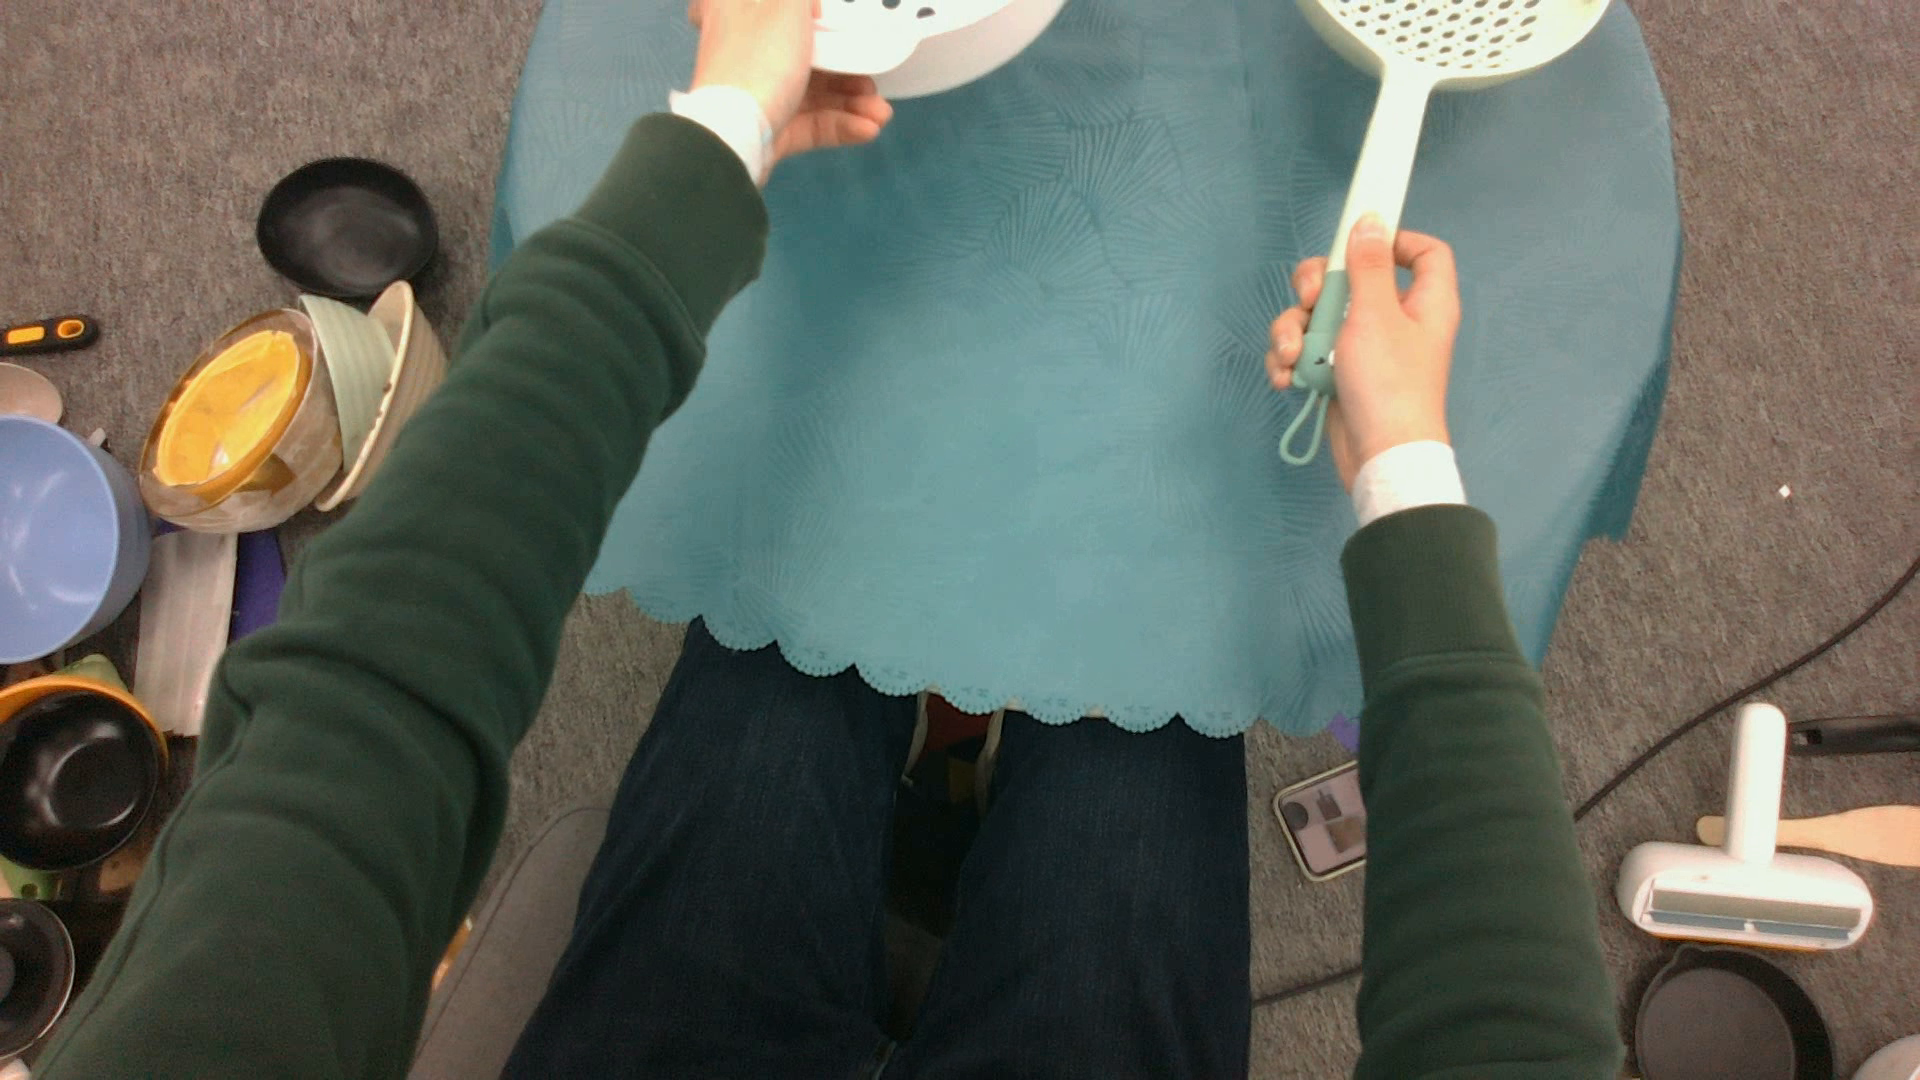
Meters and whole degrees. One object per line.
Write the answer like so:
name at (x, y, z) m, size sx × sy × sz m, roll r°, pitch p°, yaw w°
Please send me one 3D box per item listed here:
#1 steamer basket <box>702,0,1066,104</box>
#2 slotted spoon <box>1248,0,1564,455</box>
steamer basket at (-0.038, -0.306, 0.654) m, size 0.202 × 0.069 × 0.231 m, roll 9°, pitch 77°, yaw 4°
slotted spoon at (0.187, -0.206, 0.647) m, size 0.169 × 0.075 × 0.360 m, roll 18°, pitch 64°, yaw 0°
